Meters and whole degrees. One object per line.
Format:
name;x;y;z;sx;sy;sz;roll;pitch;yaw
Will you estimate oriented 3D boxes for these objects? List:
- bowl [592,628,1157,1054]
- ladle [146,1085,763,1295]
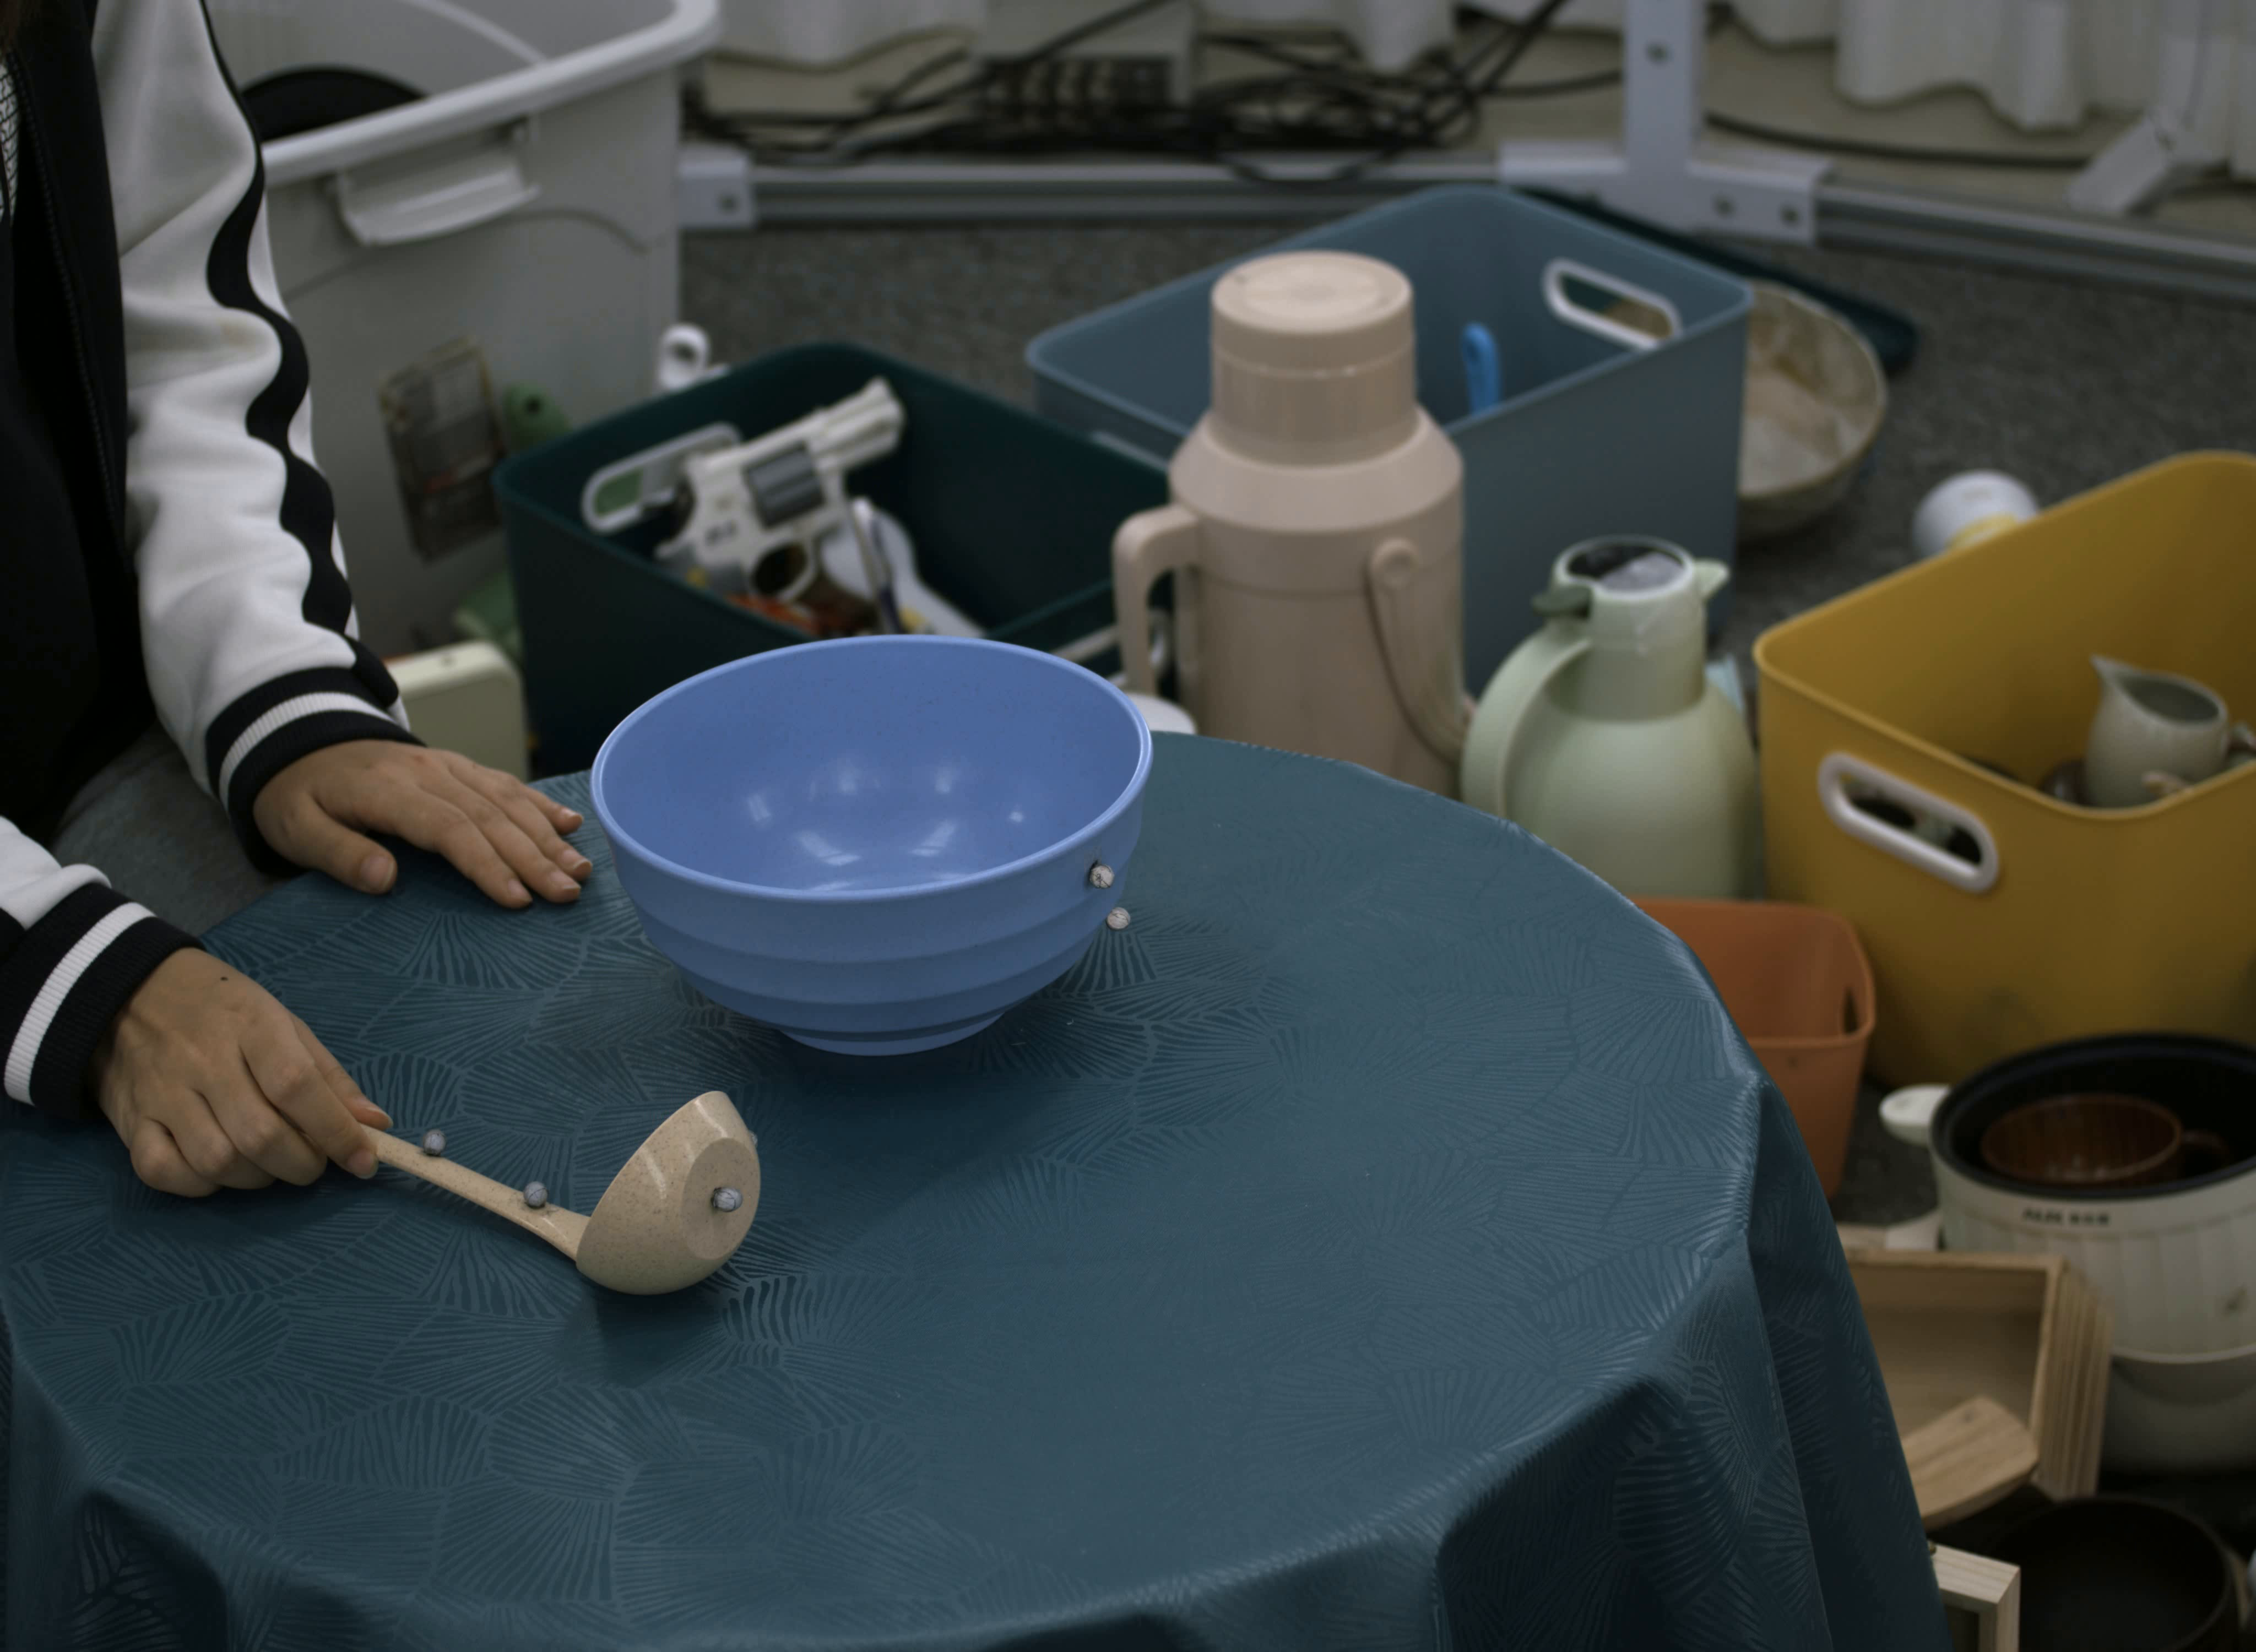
bowl;-0.087;0.017;1.969;0.195;0.094;0.199;0;28;0
ladle;-0.233;0.094;1.858;0.253;0.072;0.073;15;33;30
